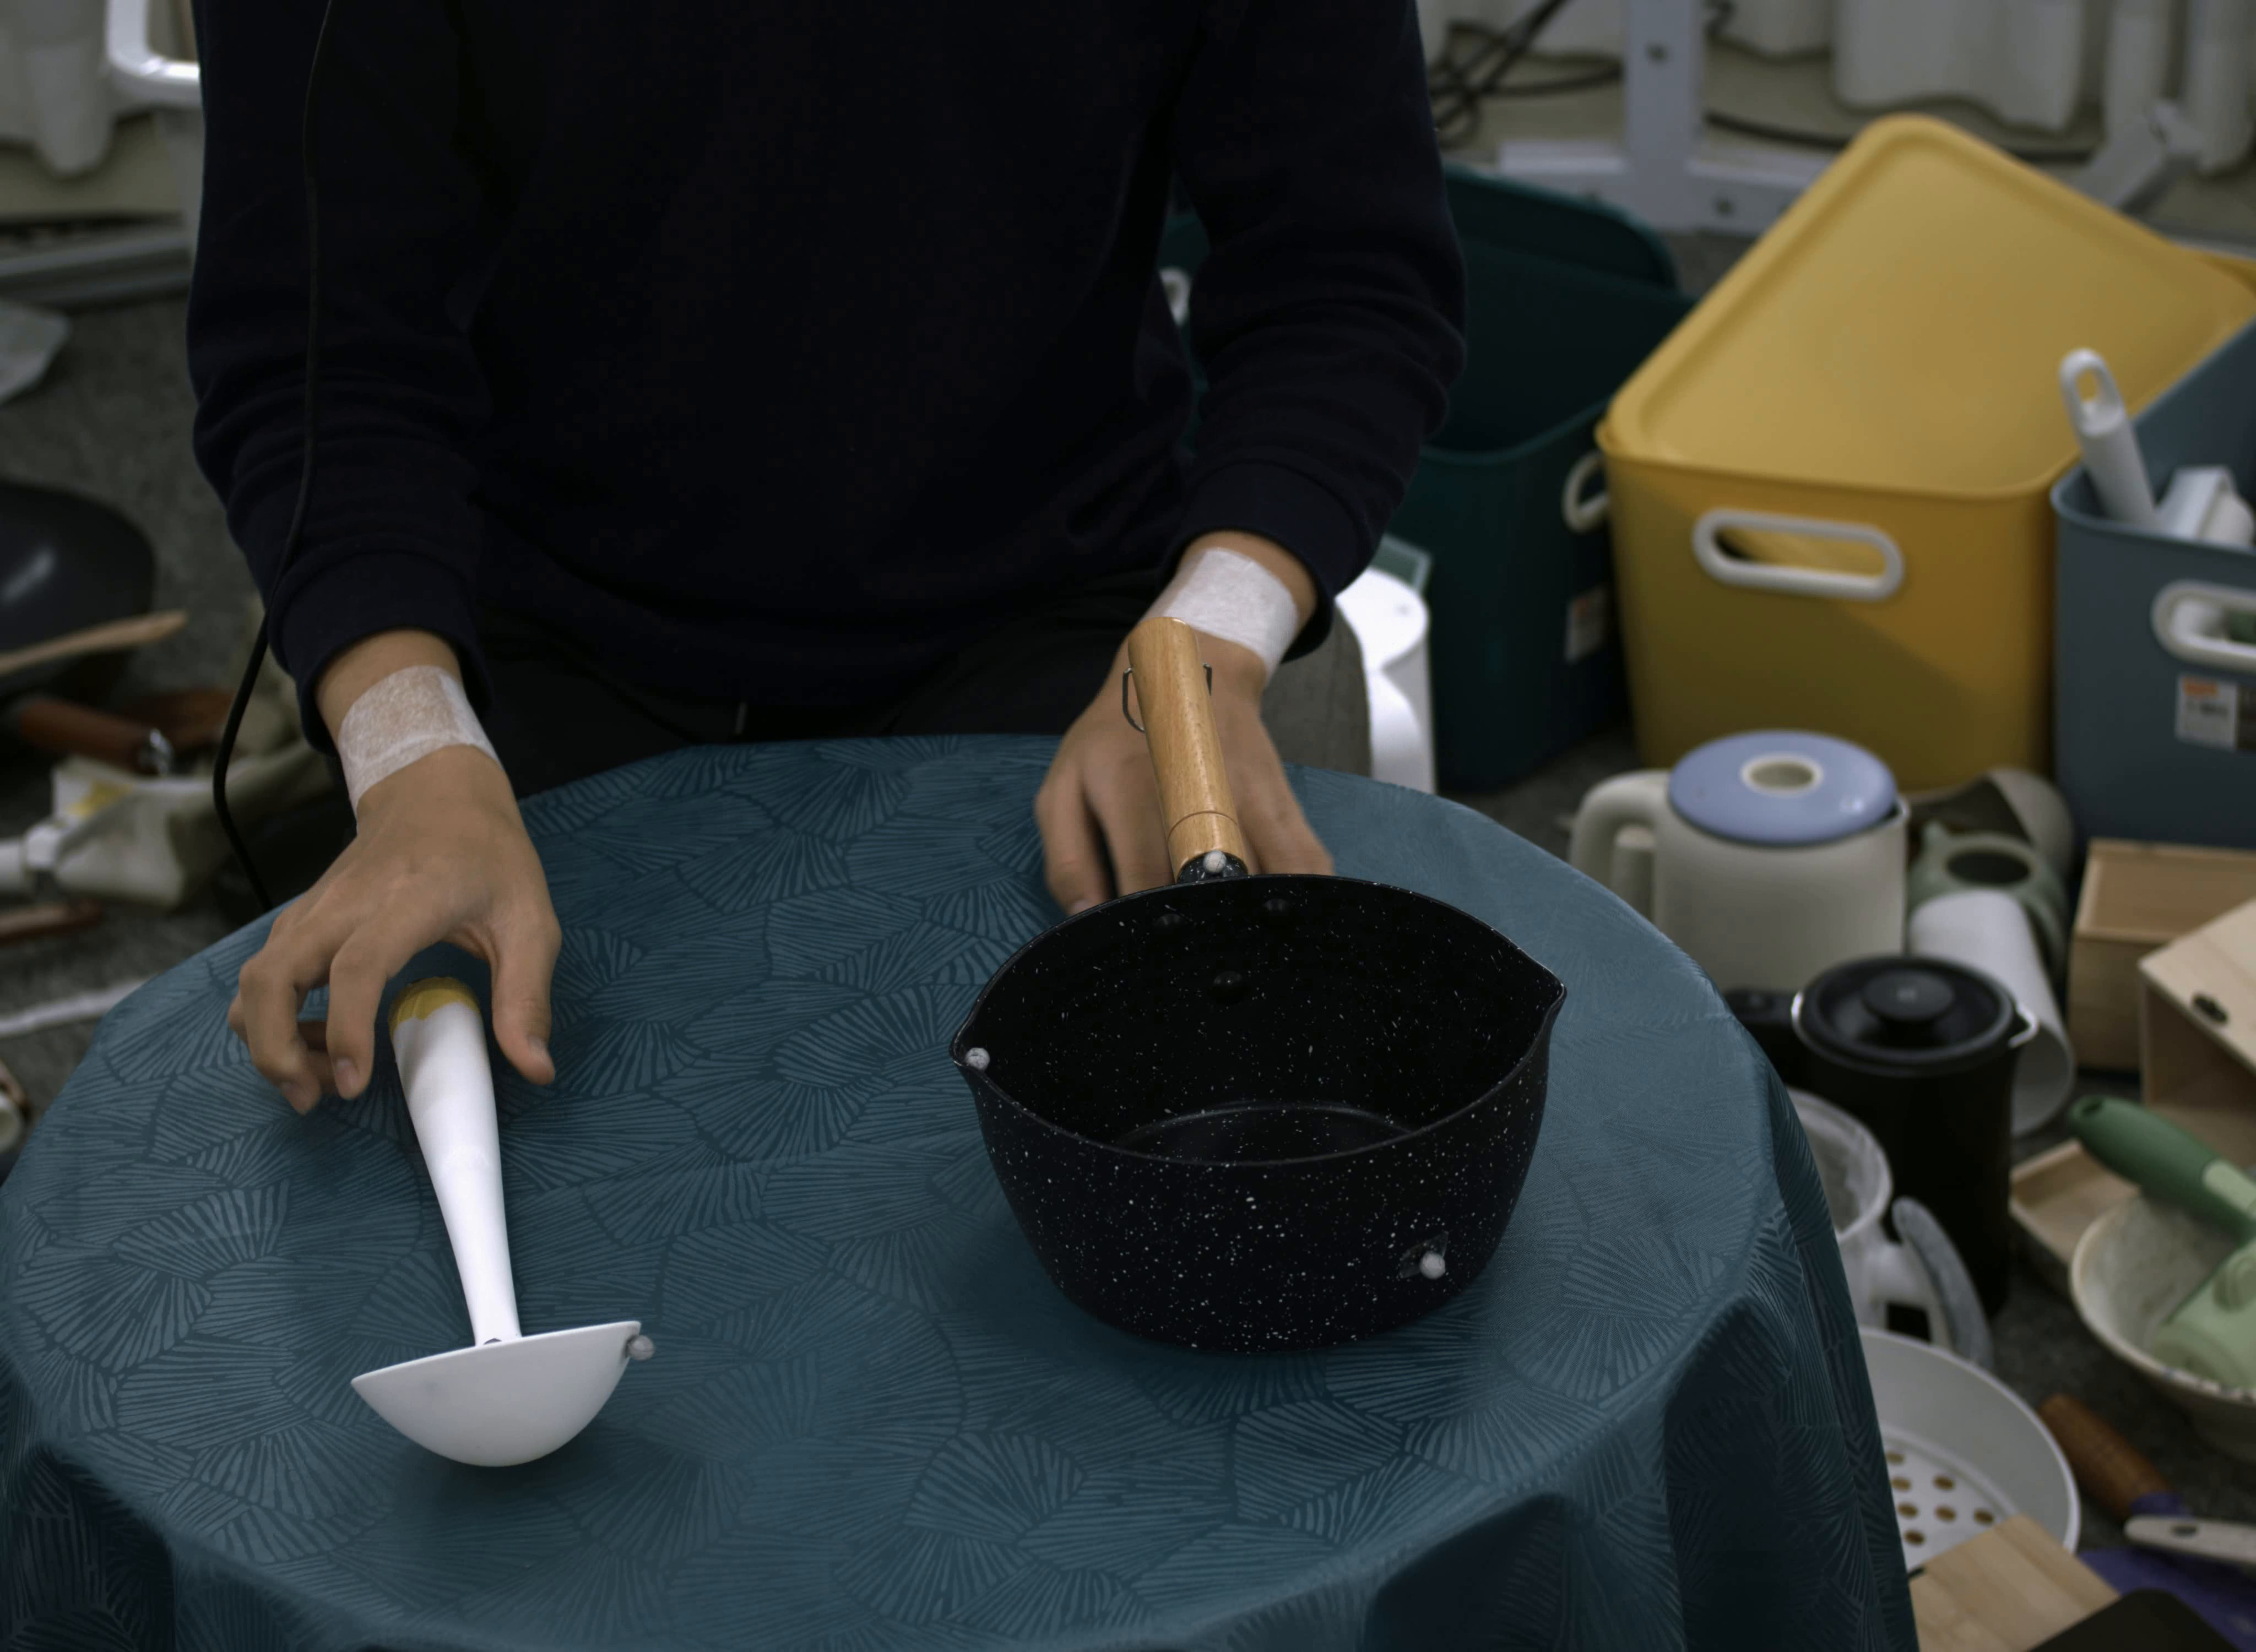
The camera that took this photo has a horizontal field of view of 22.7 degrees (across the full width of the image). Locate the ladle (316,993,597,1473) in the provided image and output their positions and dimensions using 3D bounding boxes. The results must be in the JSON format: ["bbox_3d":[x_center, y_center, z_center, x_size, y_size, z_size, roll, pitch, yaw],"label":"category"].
[{"bbox_3d":[-0.222,0.120,1.819,0.090,0.069,0.296,-18,28,-2],"label":"ladle"}]

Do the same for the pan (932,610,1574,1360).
[{"bbox_3d":[0.032,0.049,1.882,0.207,0.107,0.347,-7,29,-5],"label":"pan"}]
